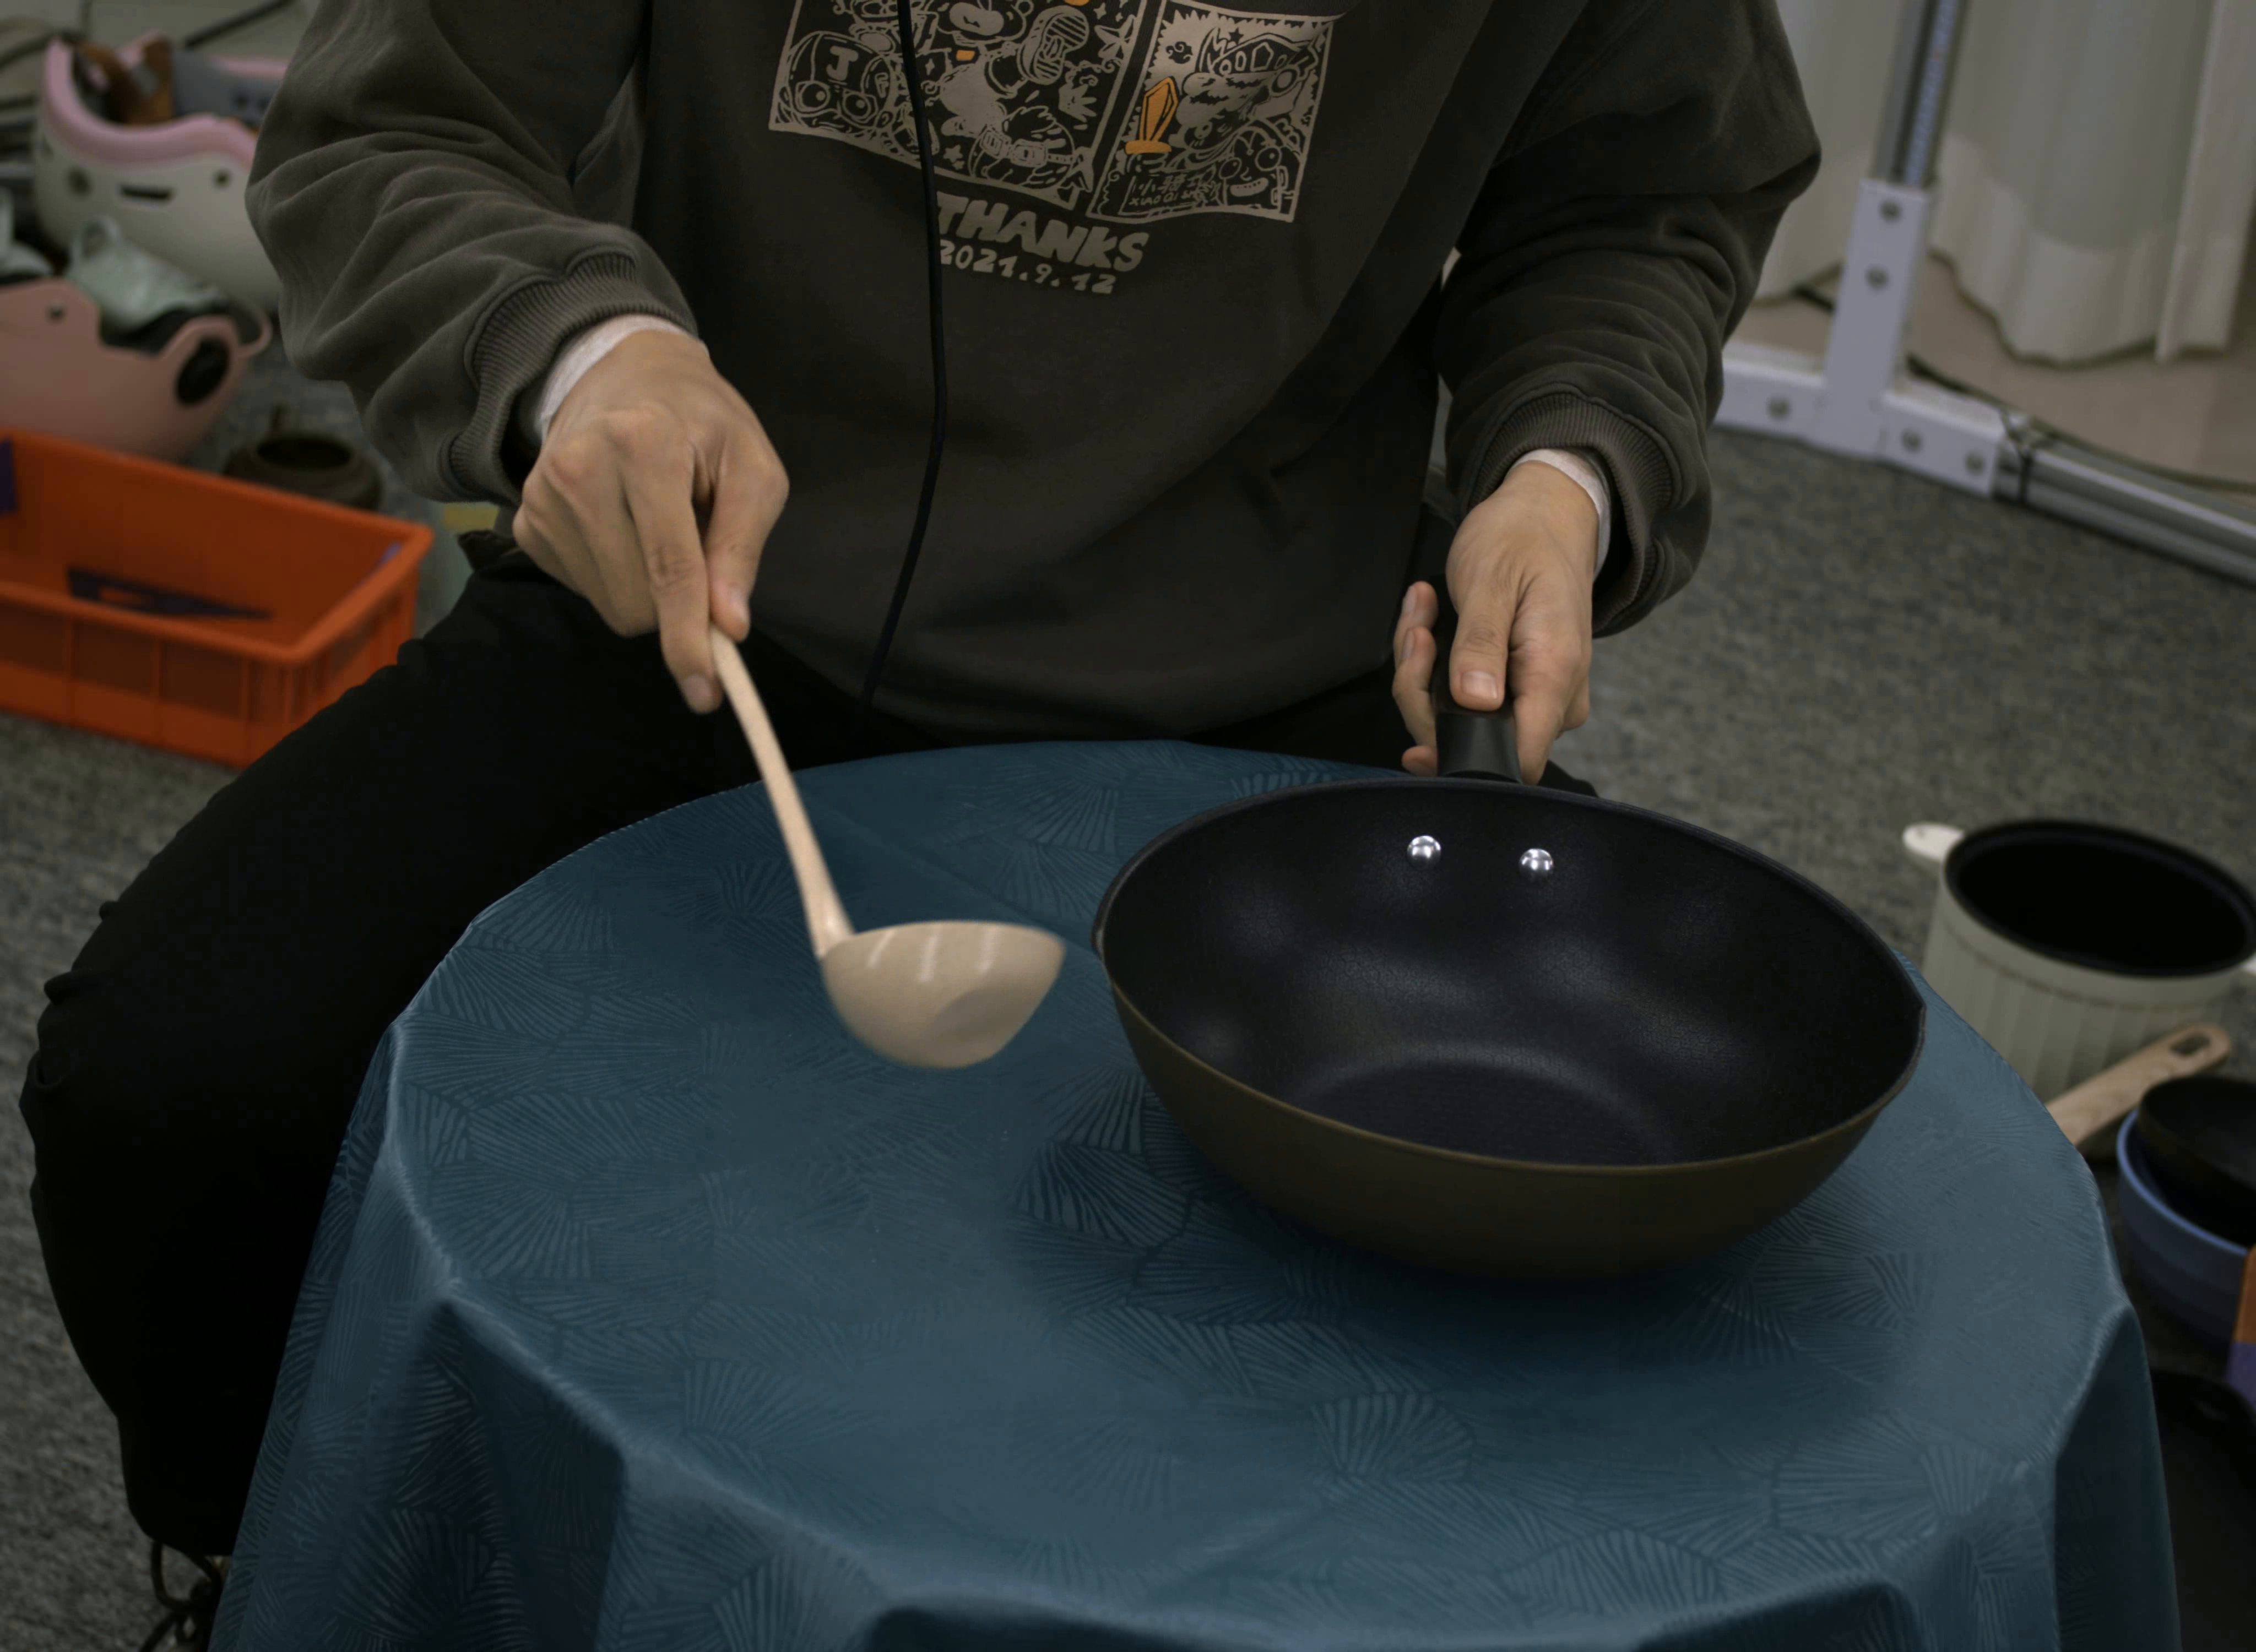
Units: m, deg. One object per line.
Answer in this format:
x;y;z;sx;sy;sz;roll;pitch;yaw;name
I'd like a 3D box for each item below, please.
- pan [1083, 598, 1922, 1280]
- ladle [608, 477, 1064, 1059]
0.124;0.041;1.906;0.287;0.086;0.466;5;25;-2;pan
-0.095;-0.038;1.690;0.071;0.073;0.257;14;41;-49;ladle
